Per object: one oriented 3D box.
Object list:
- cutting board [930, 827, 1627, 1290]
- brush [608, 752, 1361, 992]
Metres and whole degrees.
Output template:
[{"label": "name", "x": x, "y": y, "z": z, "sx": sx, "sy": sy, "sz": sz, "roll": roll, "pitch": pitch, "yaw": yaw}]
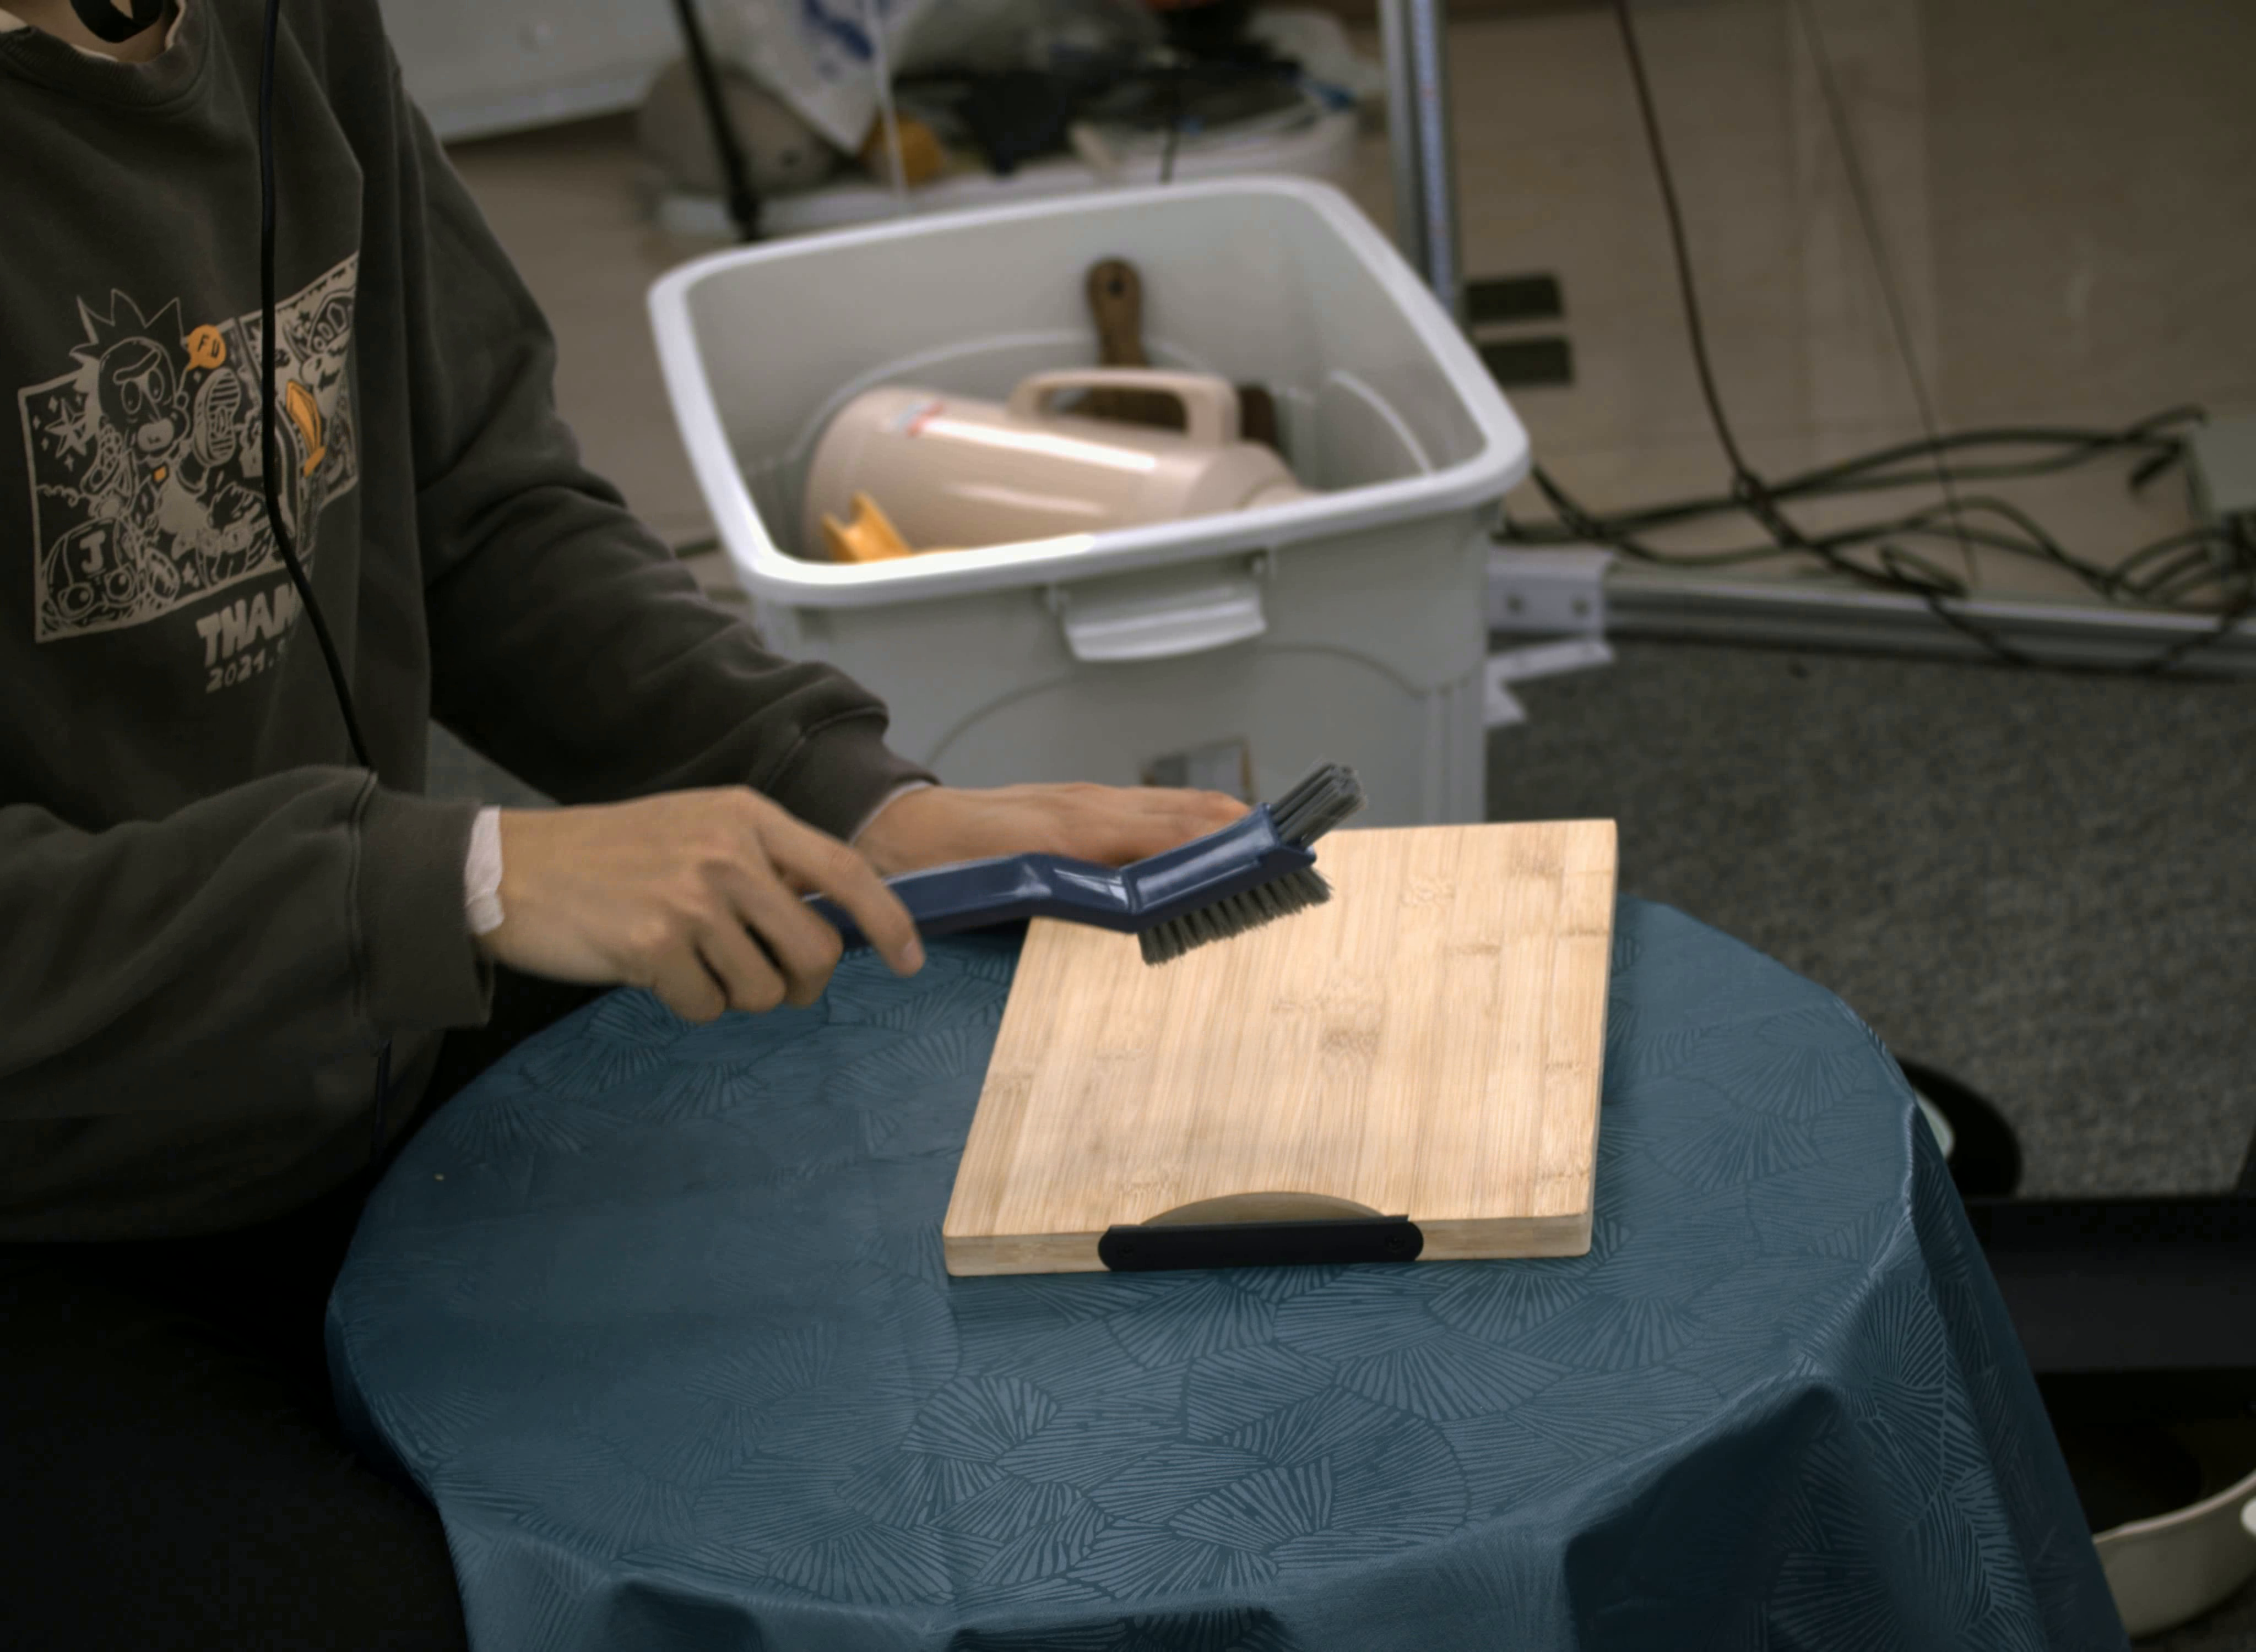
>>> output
[{"label": "cutting board", "x": 0.067, "y": 0.086, "z": 2.226, "sx": 0.250, "sy": 0.024, "sz": 0.343, "roll": -4, "pitch": 25, "yaw": 8}, {"label": "brush", "x": -0.053, "y": 0.018, "z": 2.091, "sx": 0.272, "sy": 0.097, "sz": 0.033, "roll": -4, "pitch": 48, "yaw": -15}]
